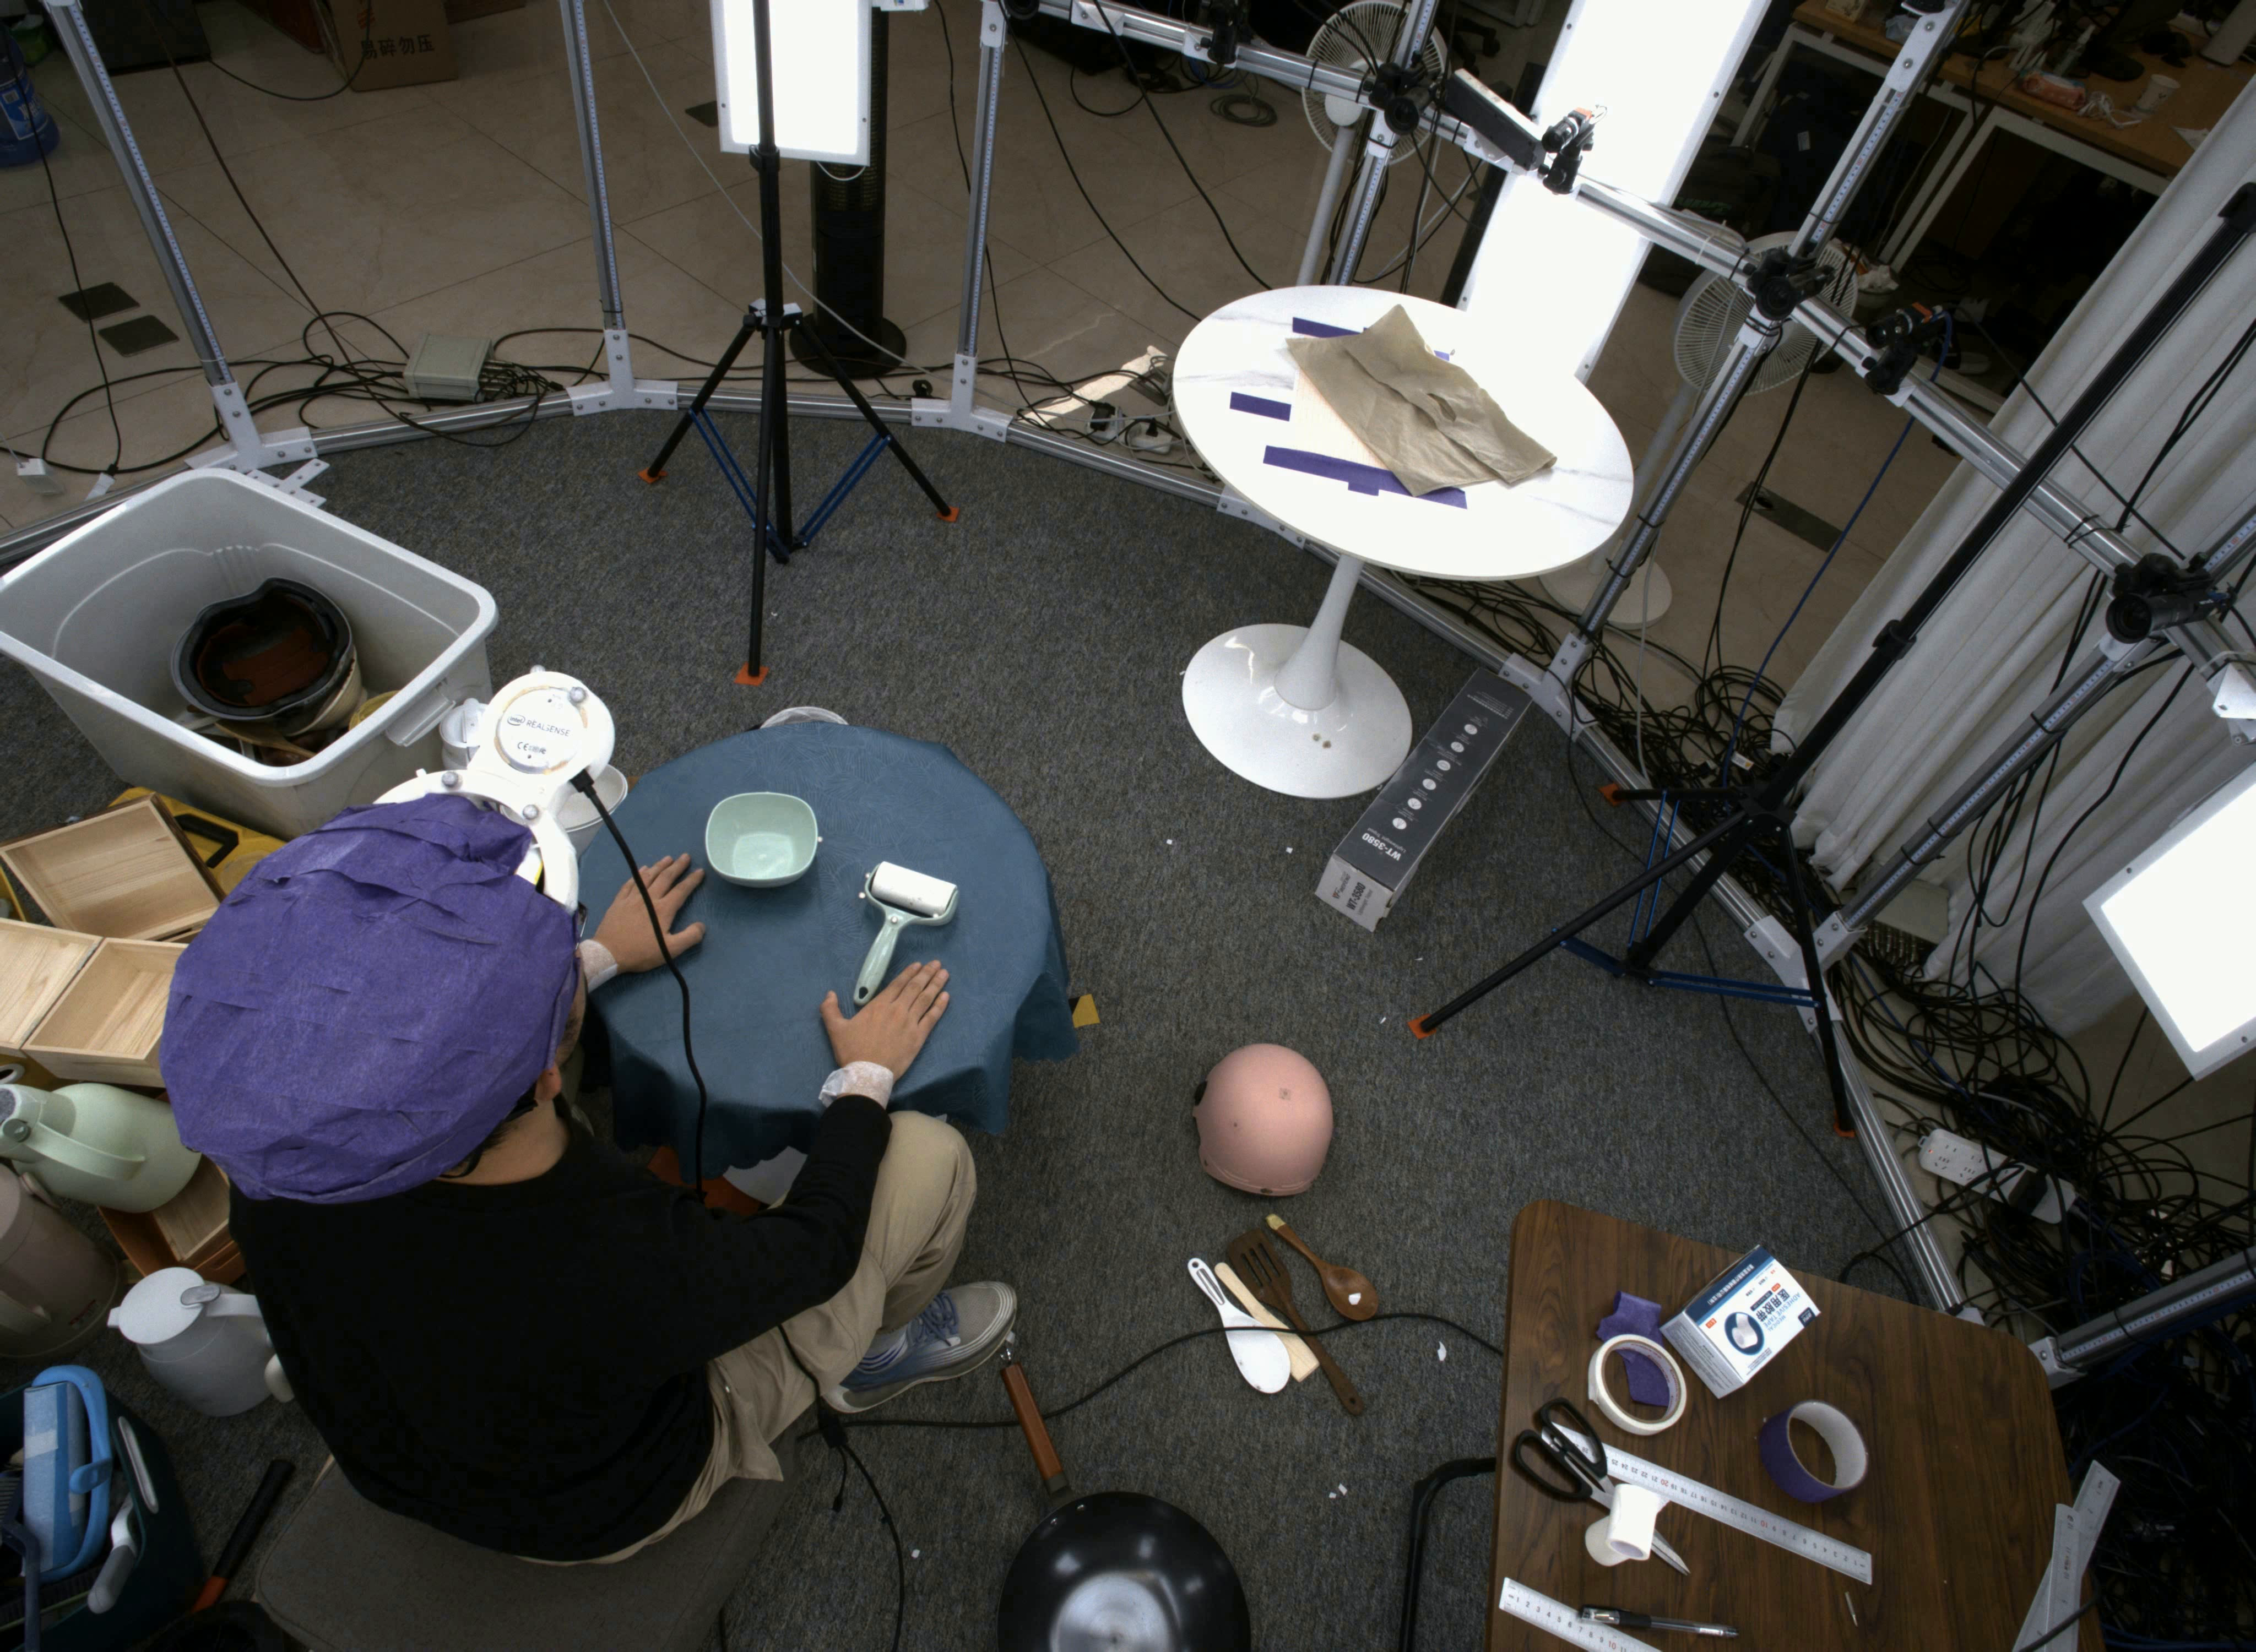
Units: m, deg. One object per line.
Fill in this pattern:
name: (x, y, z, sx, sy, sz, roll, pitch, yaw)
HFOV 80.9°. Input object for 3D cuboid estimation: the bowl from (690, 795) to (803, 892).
bowl: (-0.483, 0.030, 1.644, 0.151, 0.060, 0.148, 9, 50, -9)

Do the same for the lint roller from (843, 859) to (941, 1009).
lint roller: (-0.316, 0.133, 1.618, 0.116, 0.049, 0.195, 19, 53, -1)
